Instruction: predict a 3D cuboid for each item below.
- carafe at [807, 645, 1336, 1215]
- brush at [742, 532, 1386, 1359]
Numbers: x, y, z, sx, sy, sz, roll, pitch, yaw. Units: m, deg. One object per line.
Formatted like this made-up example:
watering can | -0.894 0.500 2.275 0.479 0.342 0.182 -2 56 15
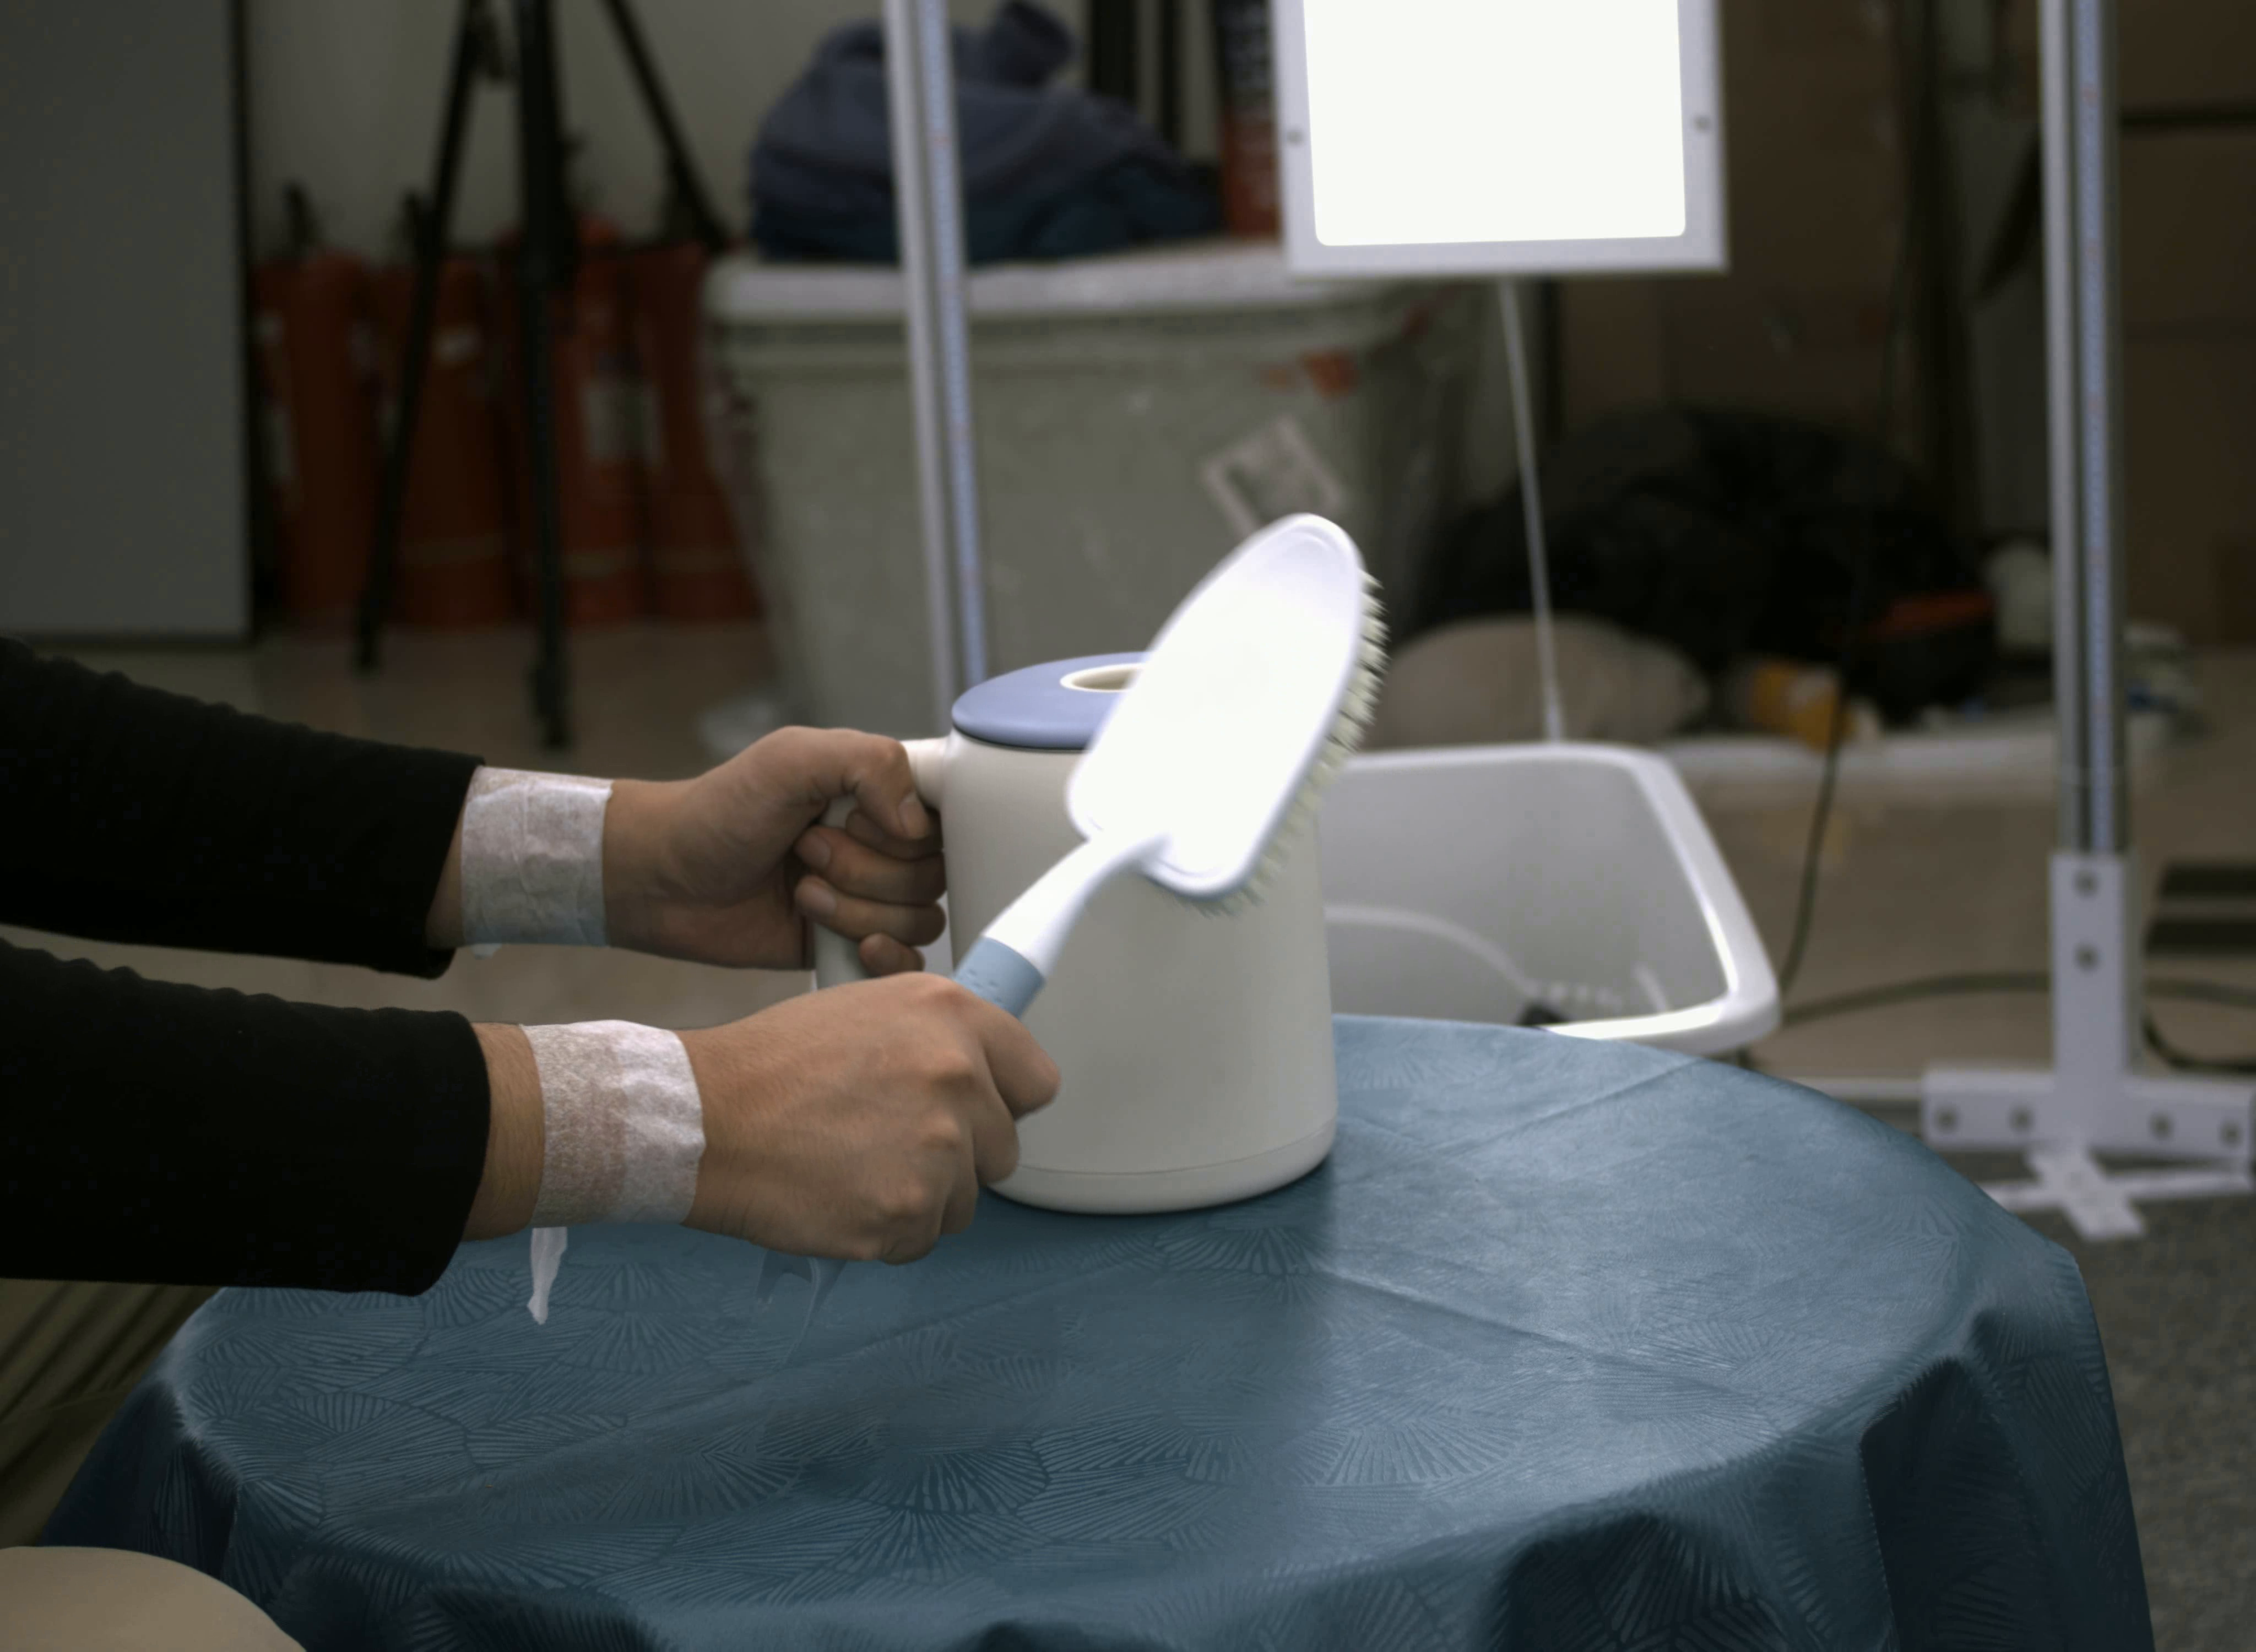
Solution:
carafe | -0.021 0.036 1.914 0.193 0.183 0.130 -2 13 17
brush | -0.020 0.044 1.738 0.322 0.083 0.085 -54 29 -16
